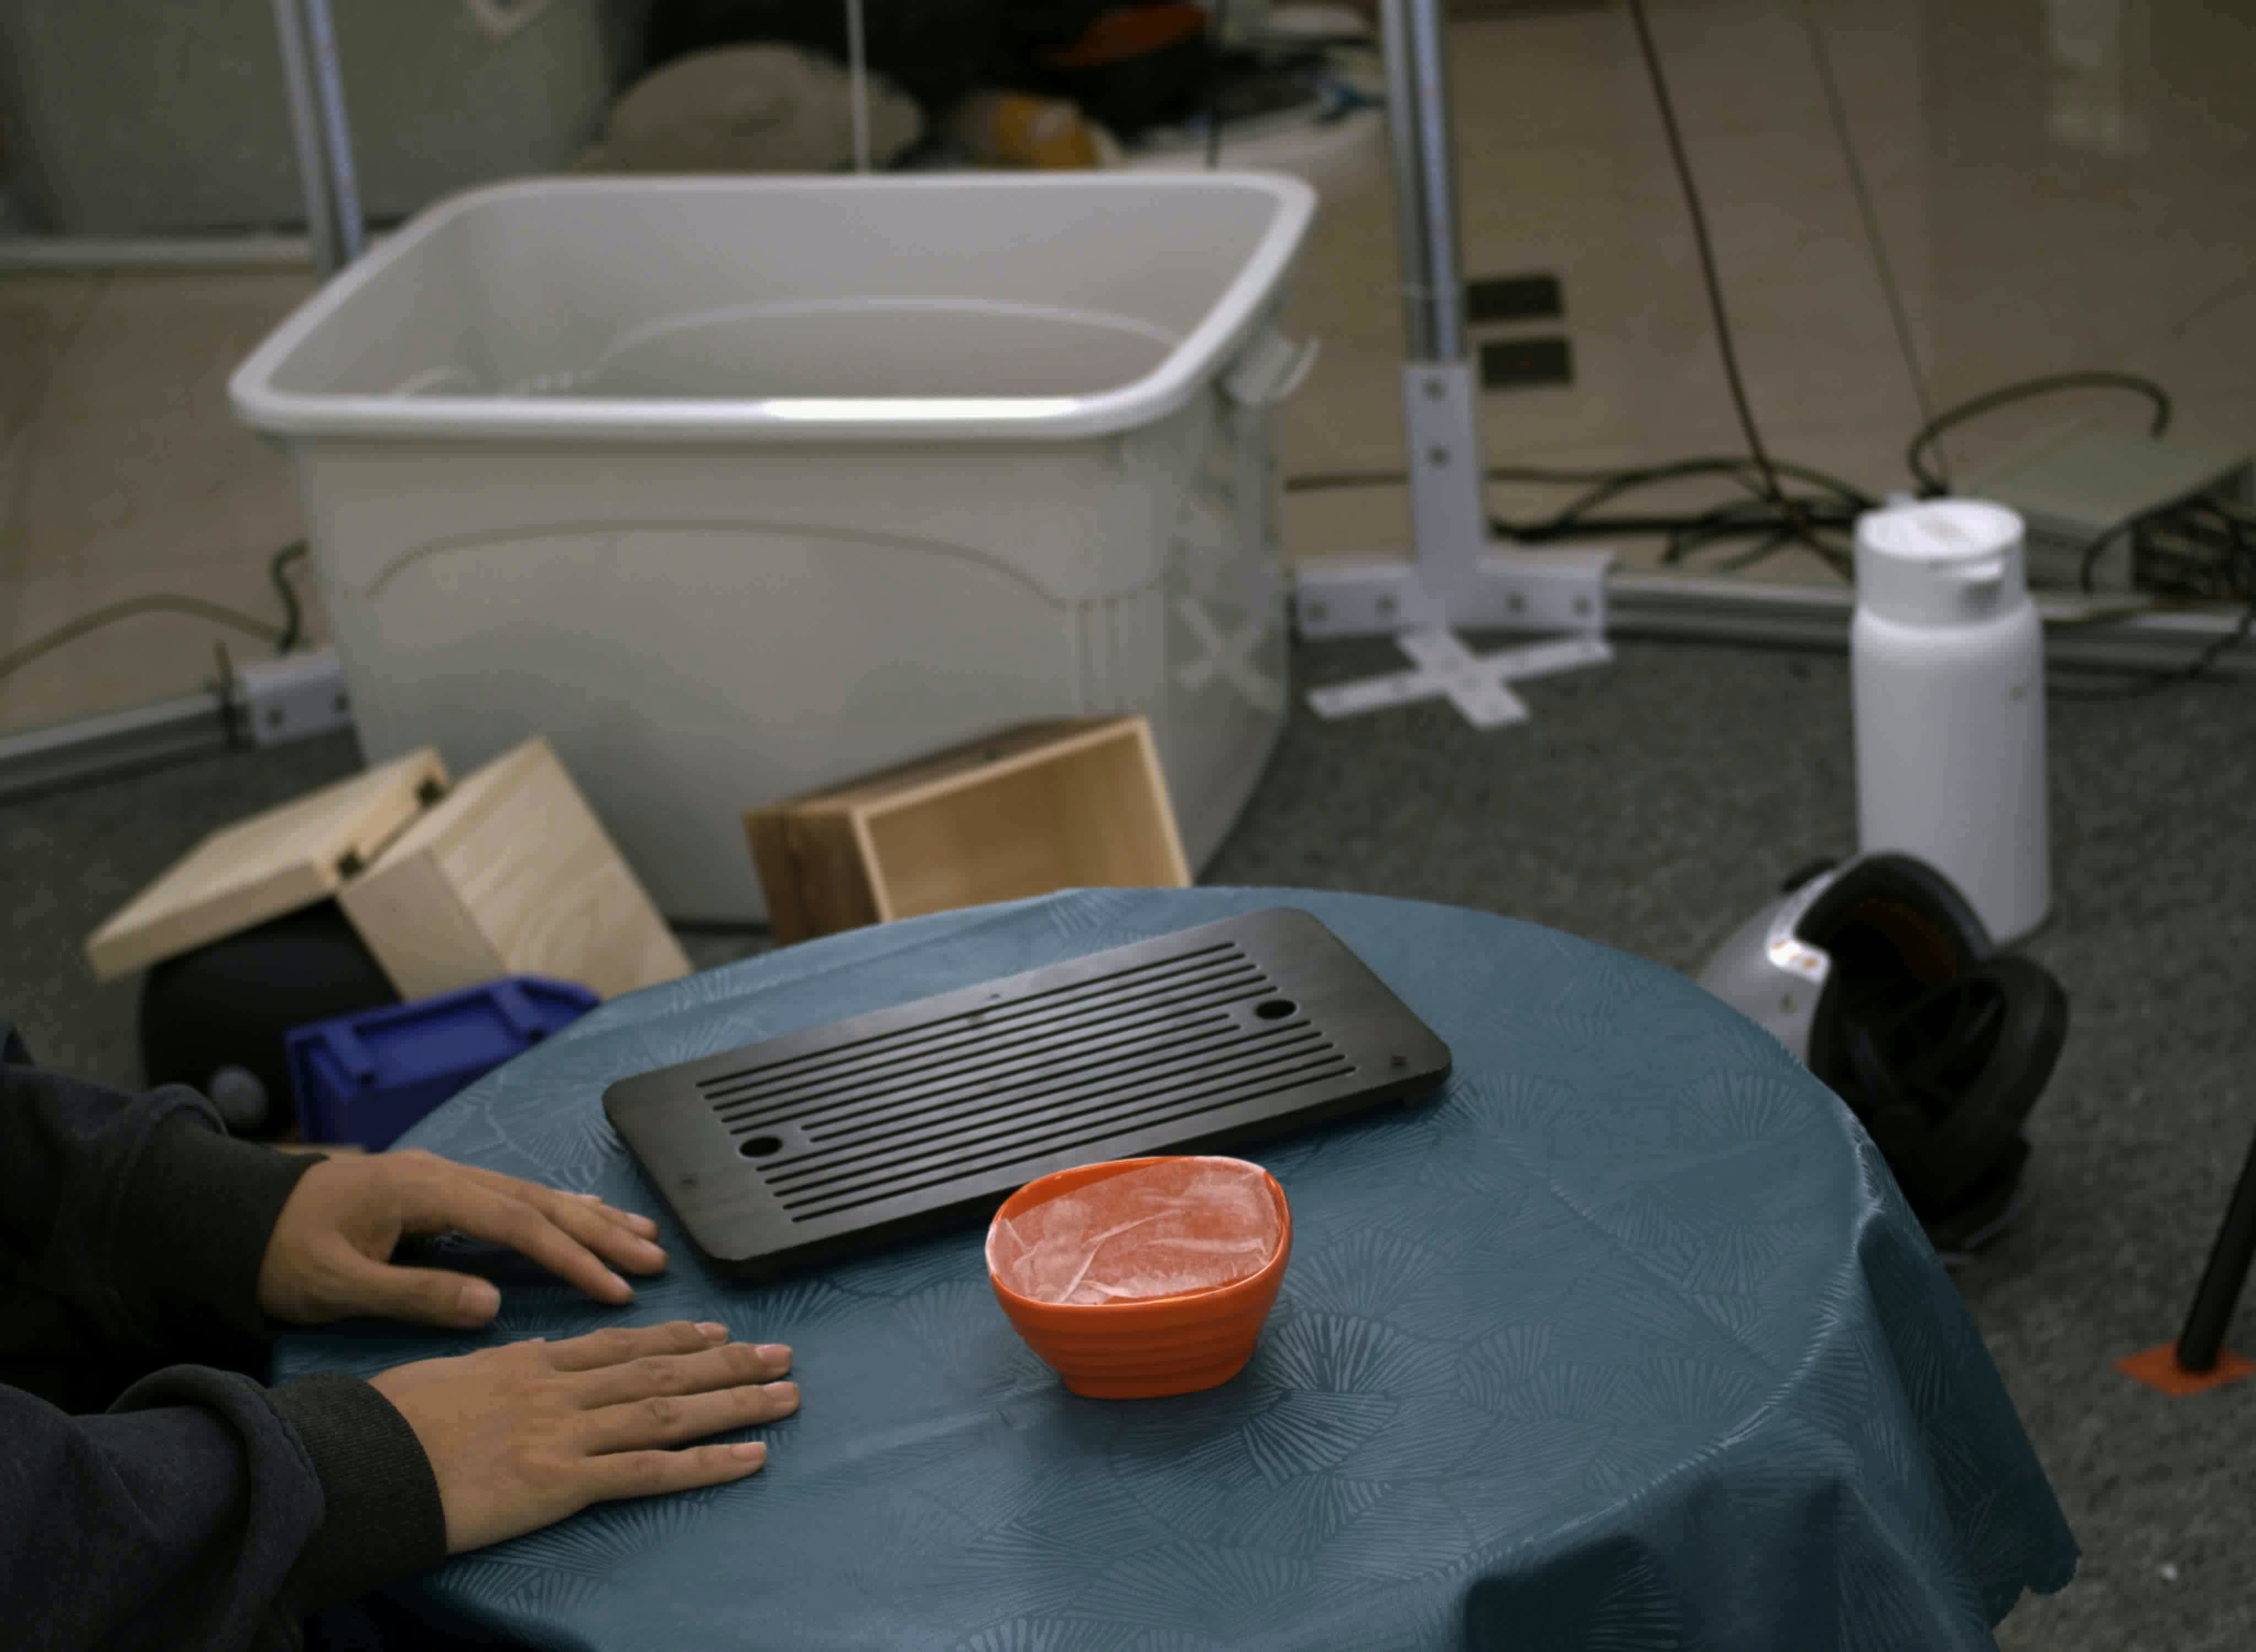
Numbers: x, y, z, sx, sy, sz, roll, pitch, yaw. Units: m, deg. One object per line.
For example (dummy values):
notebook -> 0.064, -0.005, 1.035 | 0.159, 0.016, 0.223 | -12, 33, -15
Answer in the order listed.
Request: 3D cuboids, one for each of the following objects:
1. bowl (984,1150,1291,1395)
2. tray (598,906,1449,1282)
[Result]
bowl -> 0.005, 0.164, 2.026 | 0.119, 0.052, 0.117 | -5, 26, 2
tray -> -0.042, 0.103, 2.212 | 0.305, 0.019, 0.168 | -15, 26, -16
